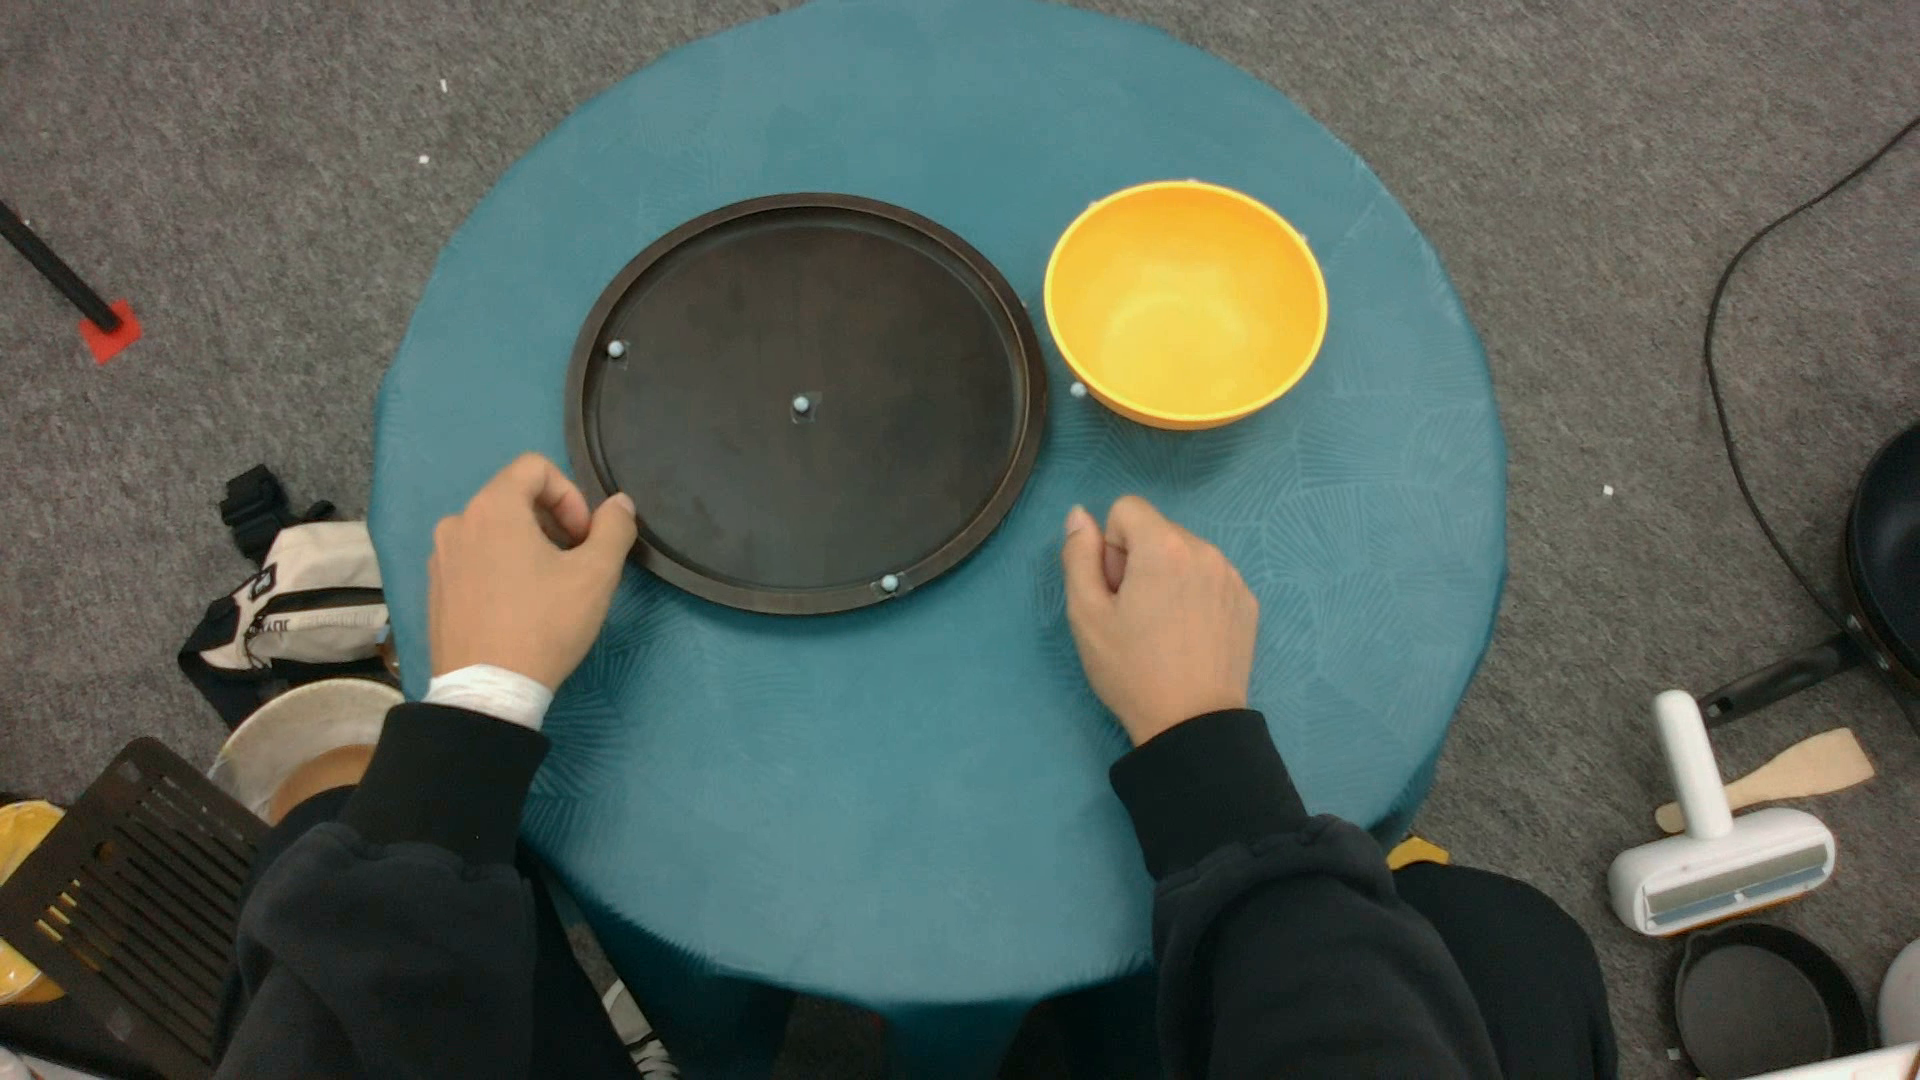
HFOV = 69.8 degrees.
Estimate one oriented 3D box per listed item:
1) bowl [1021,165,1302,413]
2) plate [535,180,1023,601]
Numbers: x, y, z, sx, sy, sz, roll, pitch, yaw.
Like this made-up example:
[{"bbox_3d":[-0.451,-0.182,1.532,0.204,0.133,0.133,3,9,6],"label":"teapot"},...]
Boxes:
[{"bbox_3d":[0.104,-0.123,0.735,0.145,0.060,0.146,0,69,0],"label":"bowl"},{"bbox_3d":[-0.093,-0.084,0.727,0.255,0.029,0.255,2,67,-4],"label":"plate"}]
